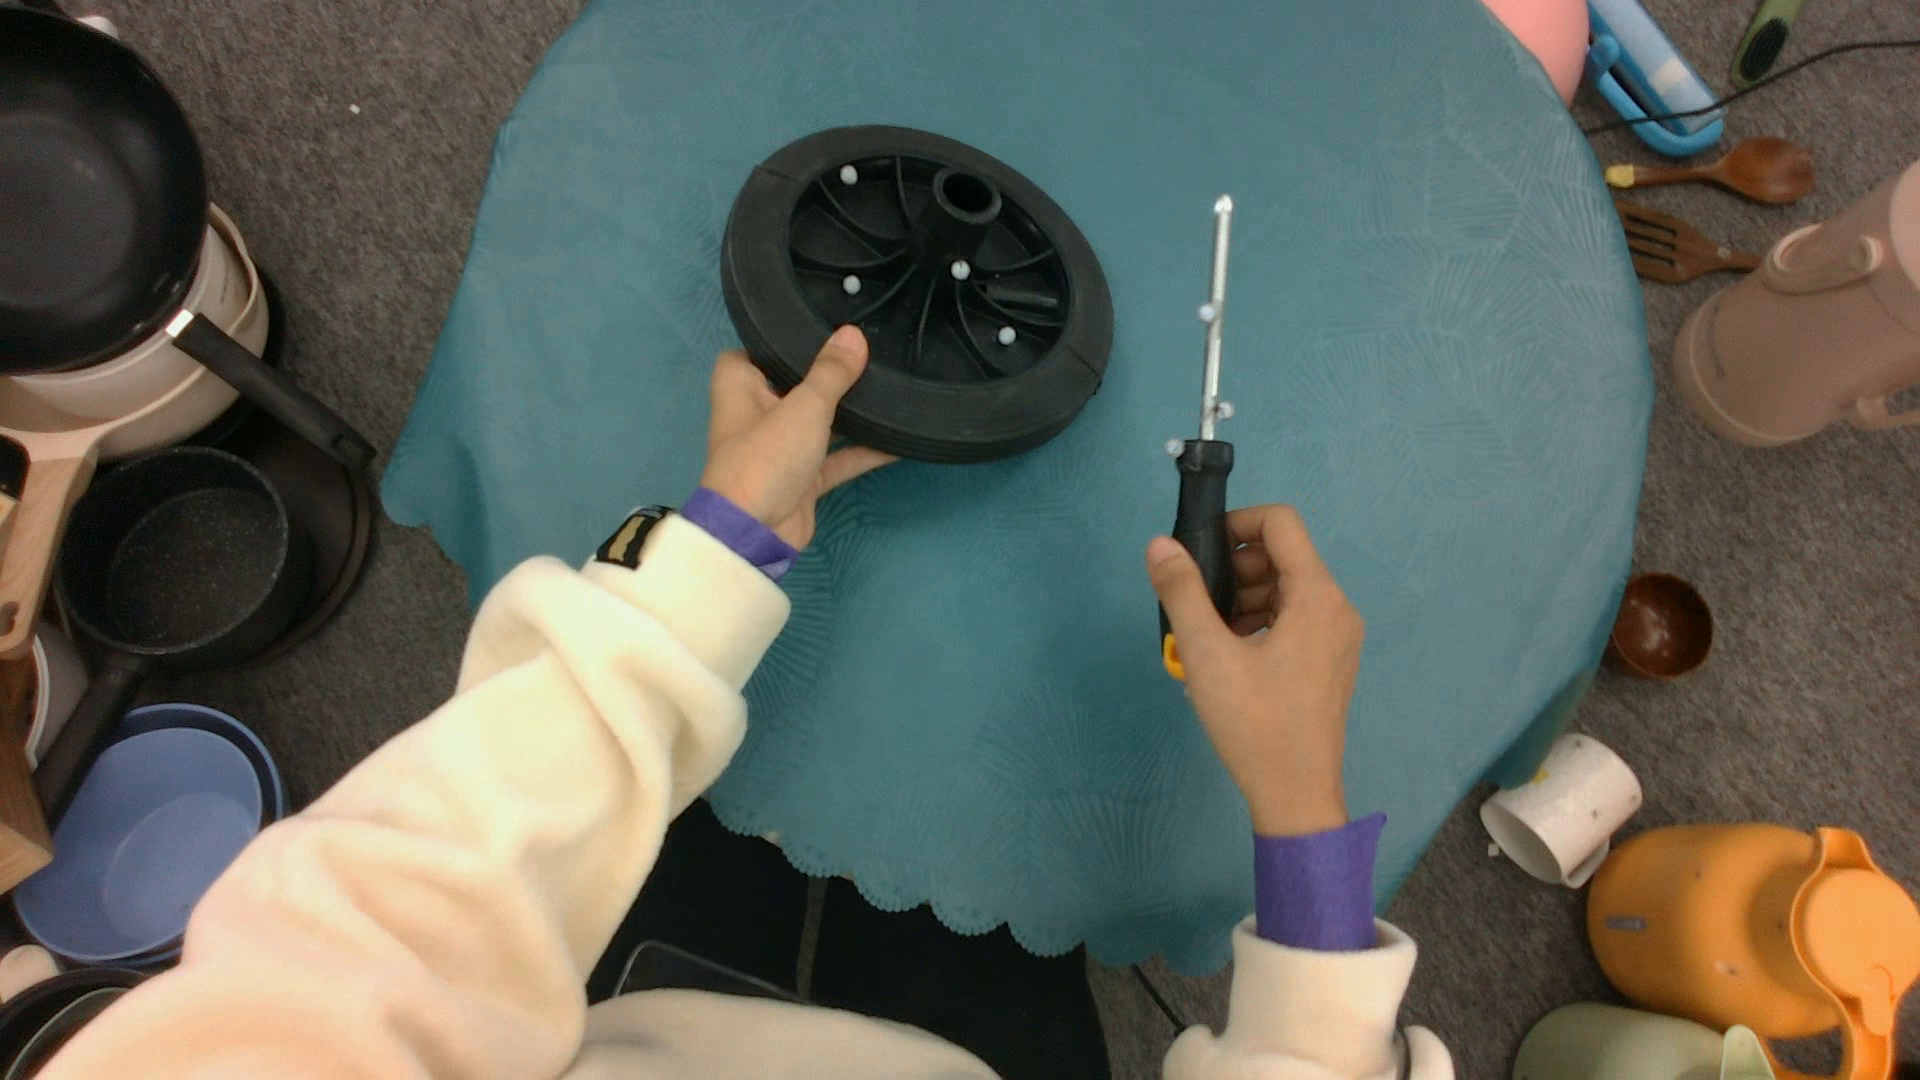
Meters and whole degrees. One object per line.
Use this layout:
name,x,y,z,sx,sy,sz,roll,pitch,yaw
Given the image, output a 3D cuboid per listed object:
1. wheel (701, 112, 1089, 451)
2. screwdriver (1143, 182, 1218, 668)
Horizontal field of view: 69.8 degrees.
wheel,-0.018,-0.135,0.623,0.190,0.078,0.187,-16,68,-34
screwdriver,0.089,-0.046,0.554,0.031,0.031,0.196,-1,95,-5
